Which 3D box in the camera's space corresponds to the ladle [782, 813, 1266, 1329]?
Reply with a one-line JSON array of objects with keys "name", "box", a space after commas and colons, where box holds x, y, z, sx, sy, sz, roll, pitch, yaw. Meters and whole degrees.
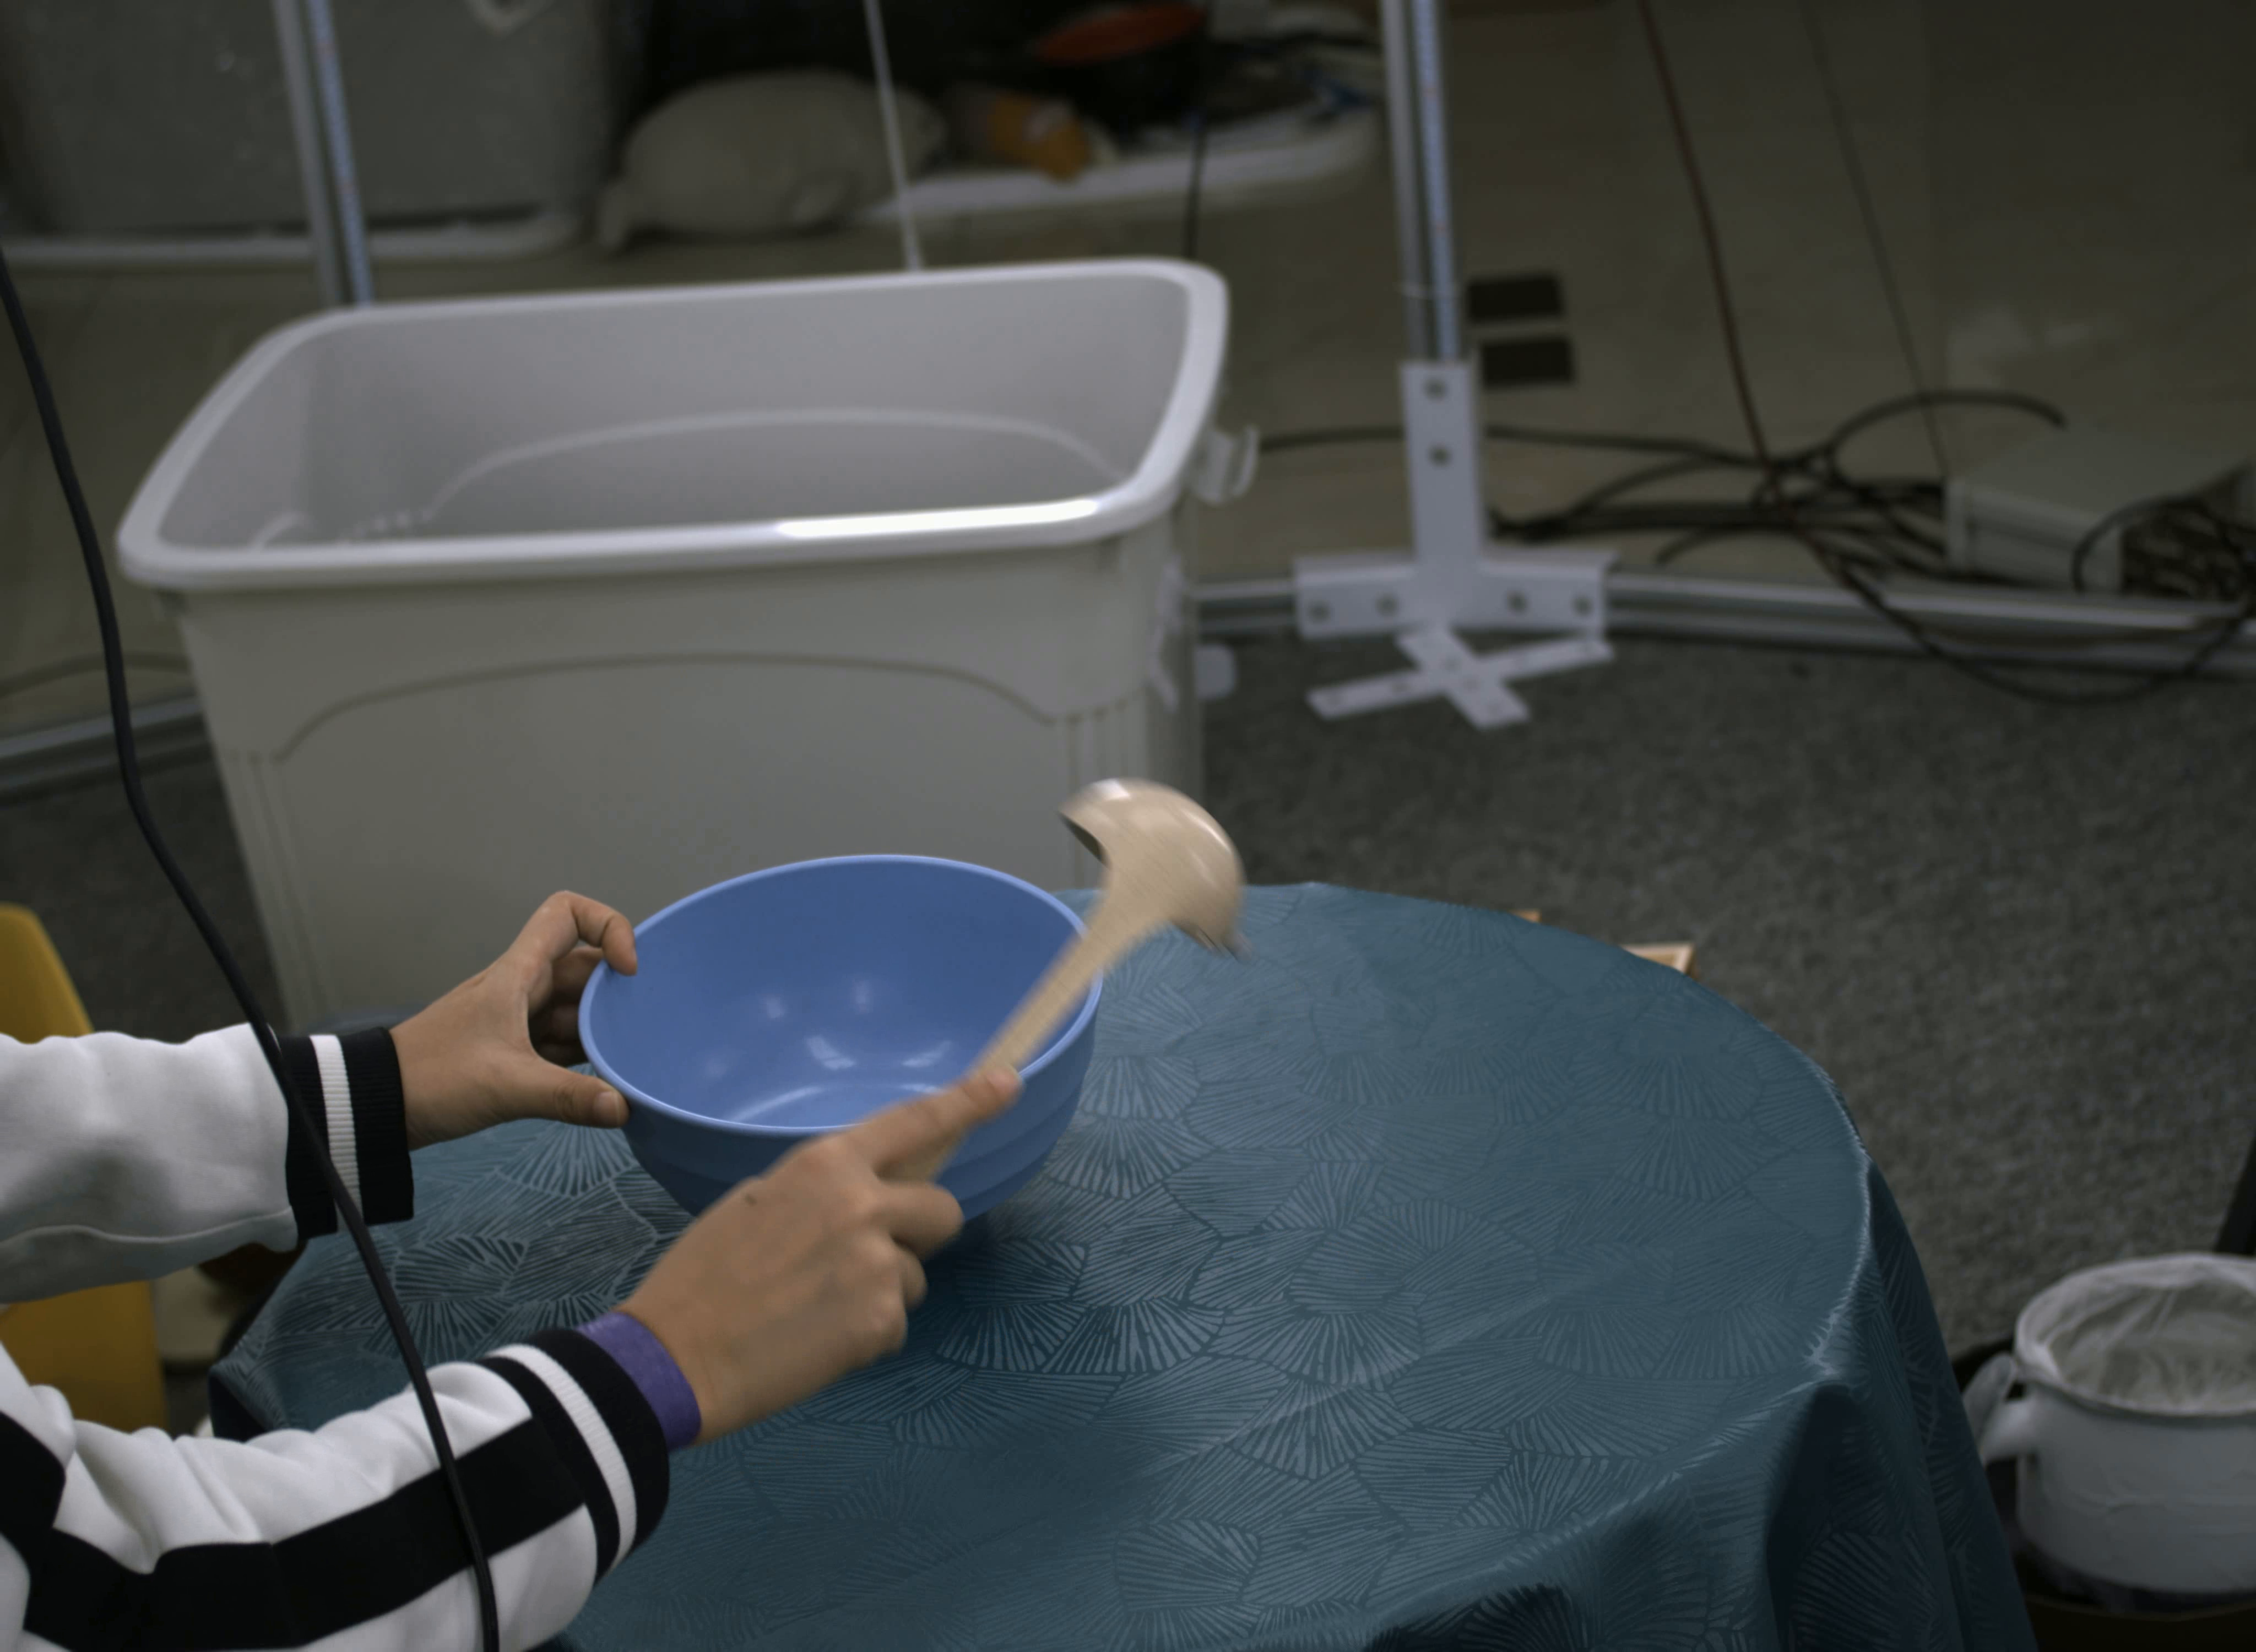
[{"name": "ladle", "box": [-0.045, 0.091, 1.903, 0.251, 0.072, 0.073, -47, 0, -29]}]

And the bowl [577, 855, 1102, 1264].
[{"name": "bowl", "box": [-0.105, 0.101, 2.135, 0.196, 0.097, 0.193, -3, 32, 2]}]
